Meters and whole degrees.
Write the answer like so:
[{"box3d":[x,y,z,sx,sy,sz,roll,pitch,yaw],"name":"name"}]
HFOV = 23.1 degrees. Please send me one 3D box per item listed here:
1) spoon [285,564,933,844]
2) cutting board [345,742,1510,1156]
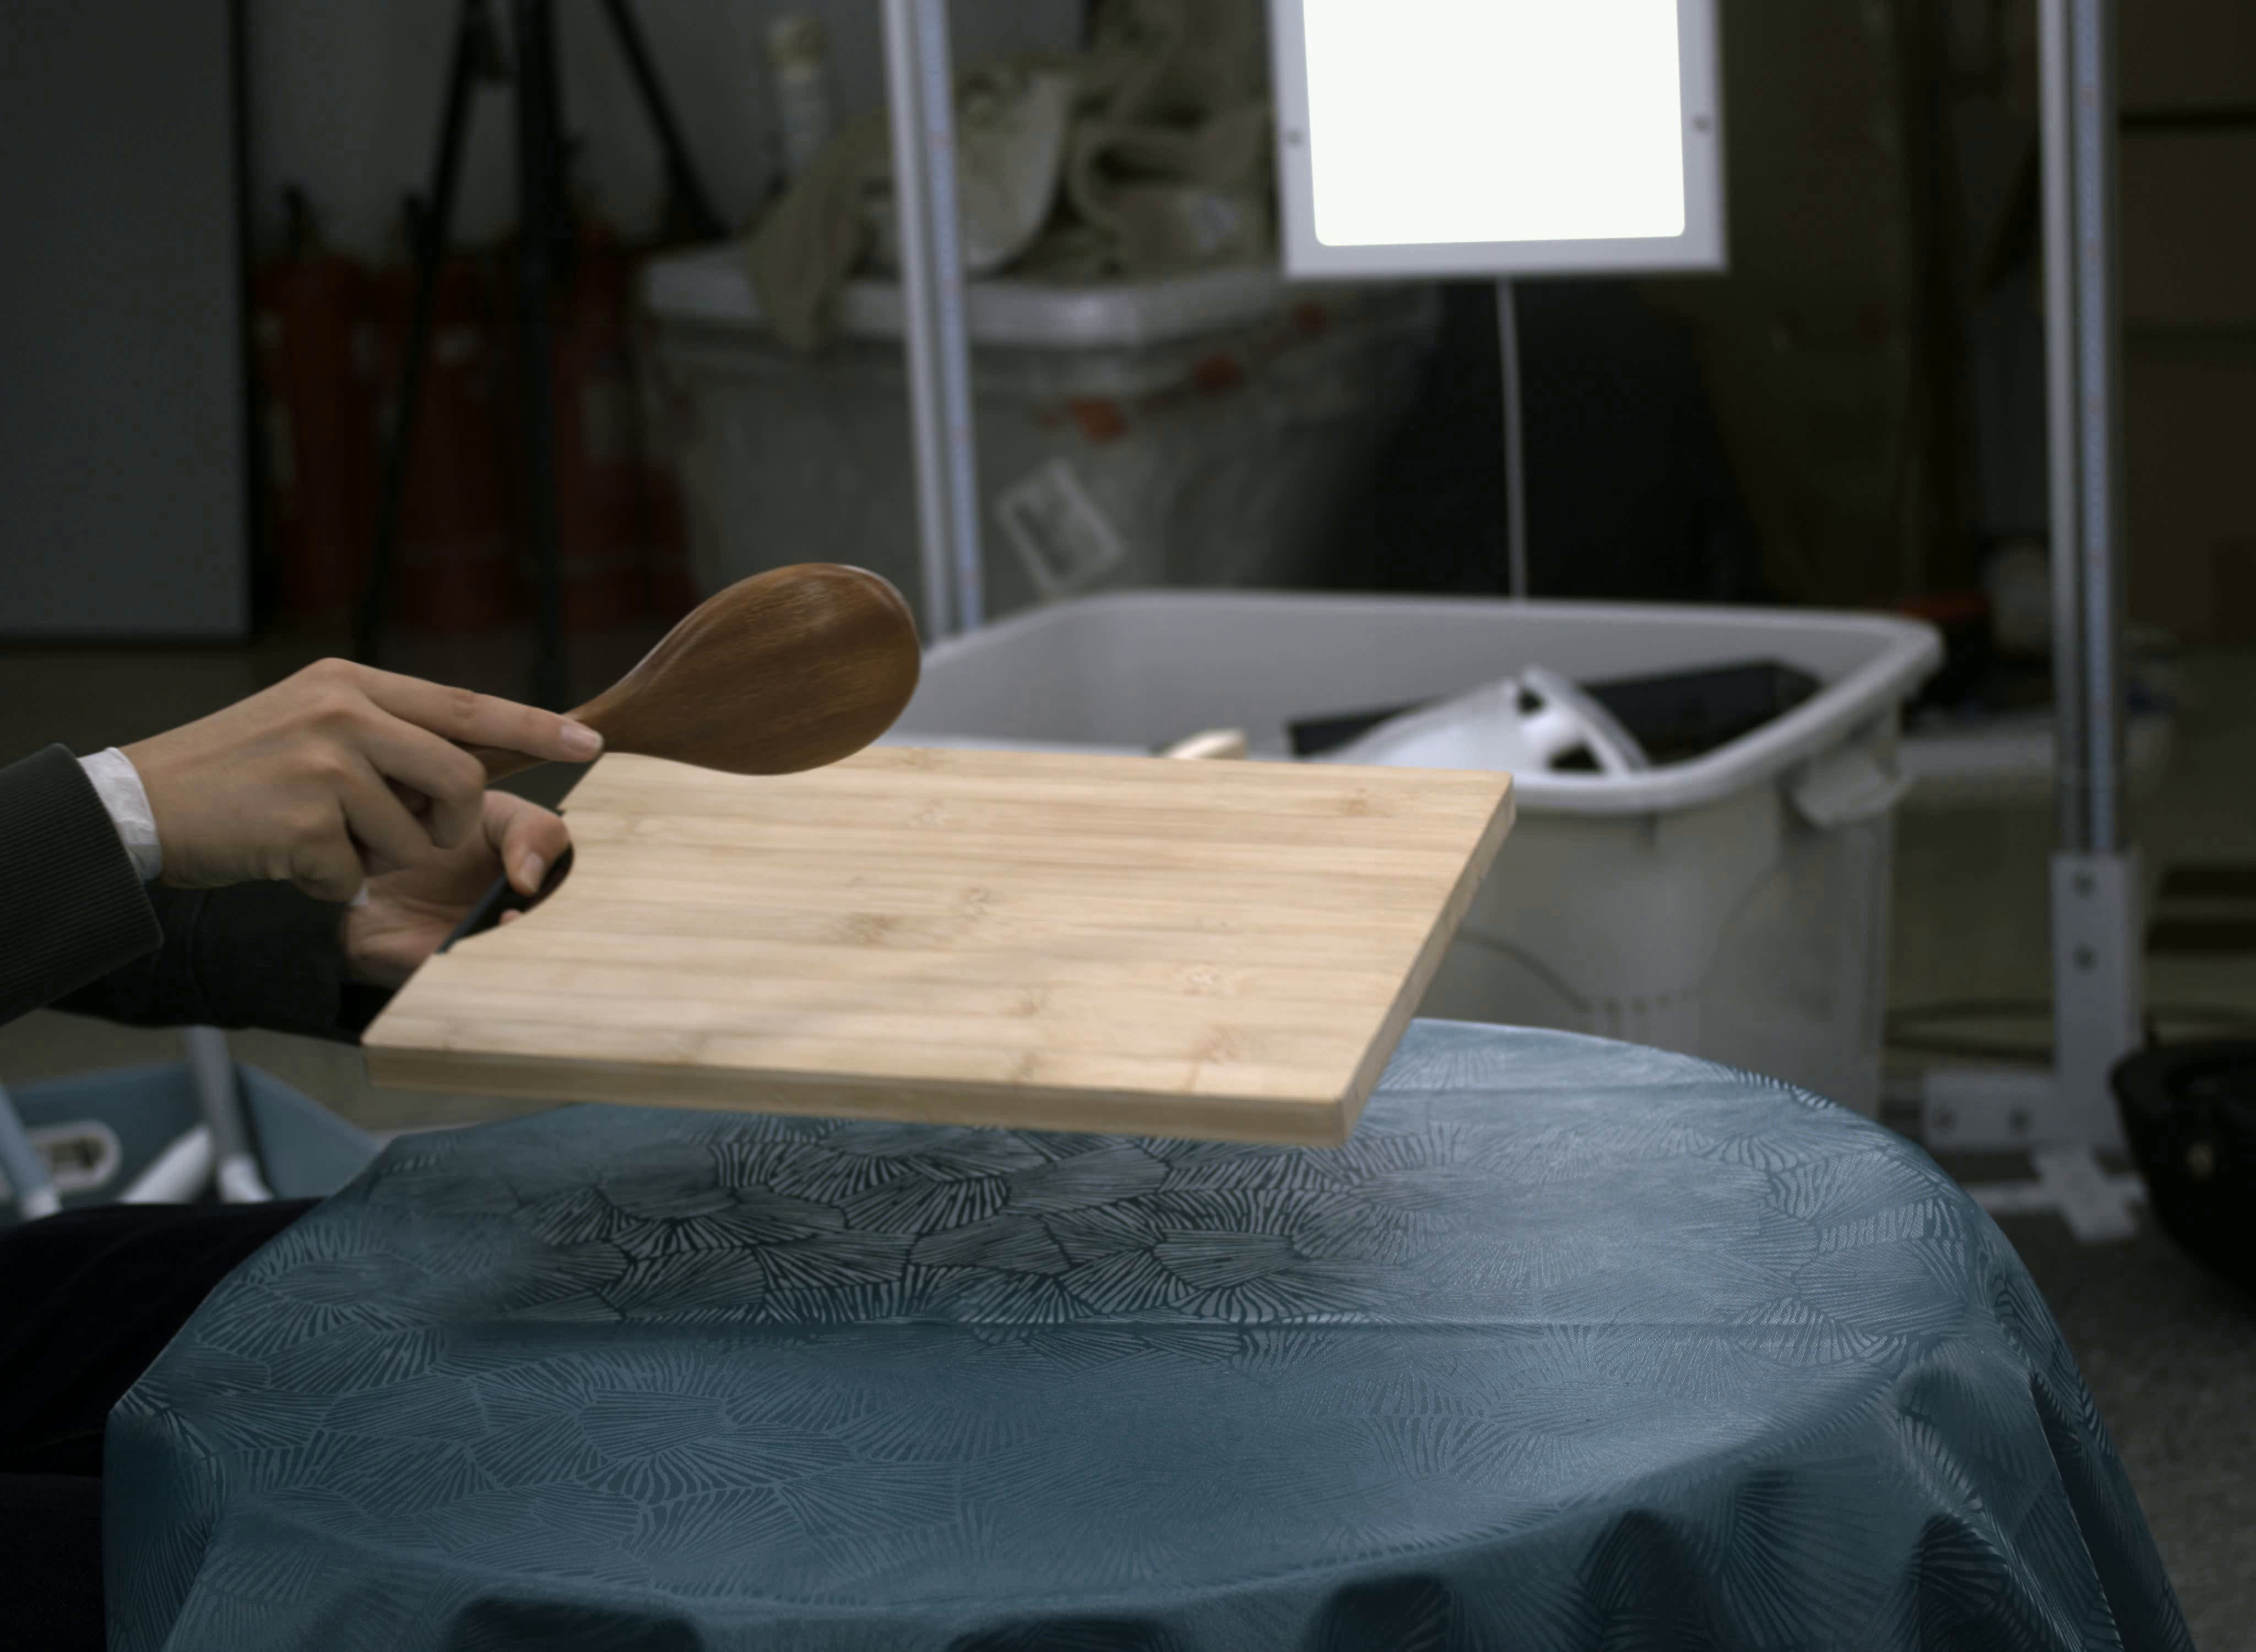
[{"box3d":[-0.165,-0.032,1.774,0.214,0.075,0.017,-15,37,-4],"name":"spoon"},{"box3d":[-0.063,0.036,1.881,0.353,0.023,0.247,2,27,19],"name":"cutting board"}]
